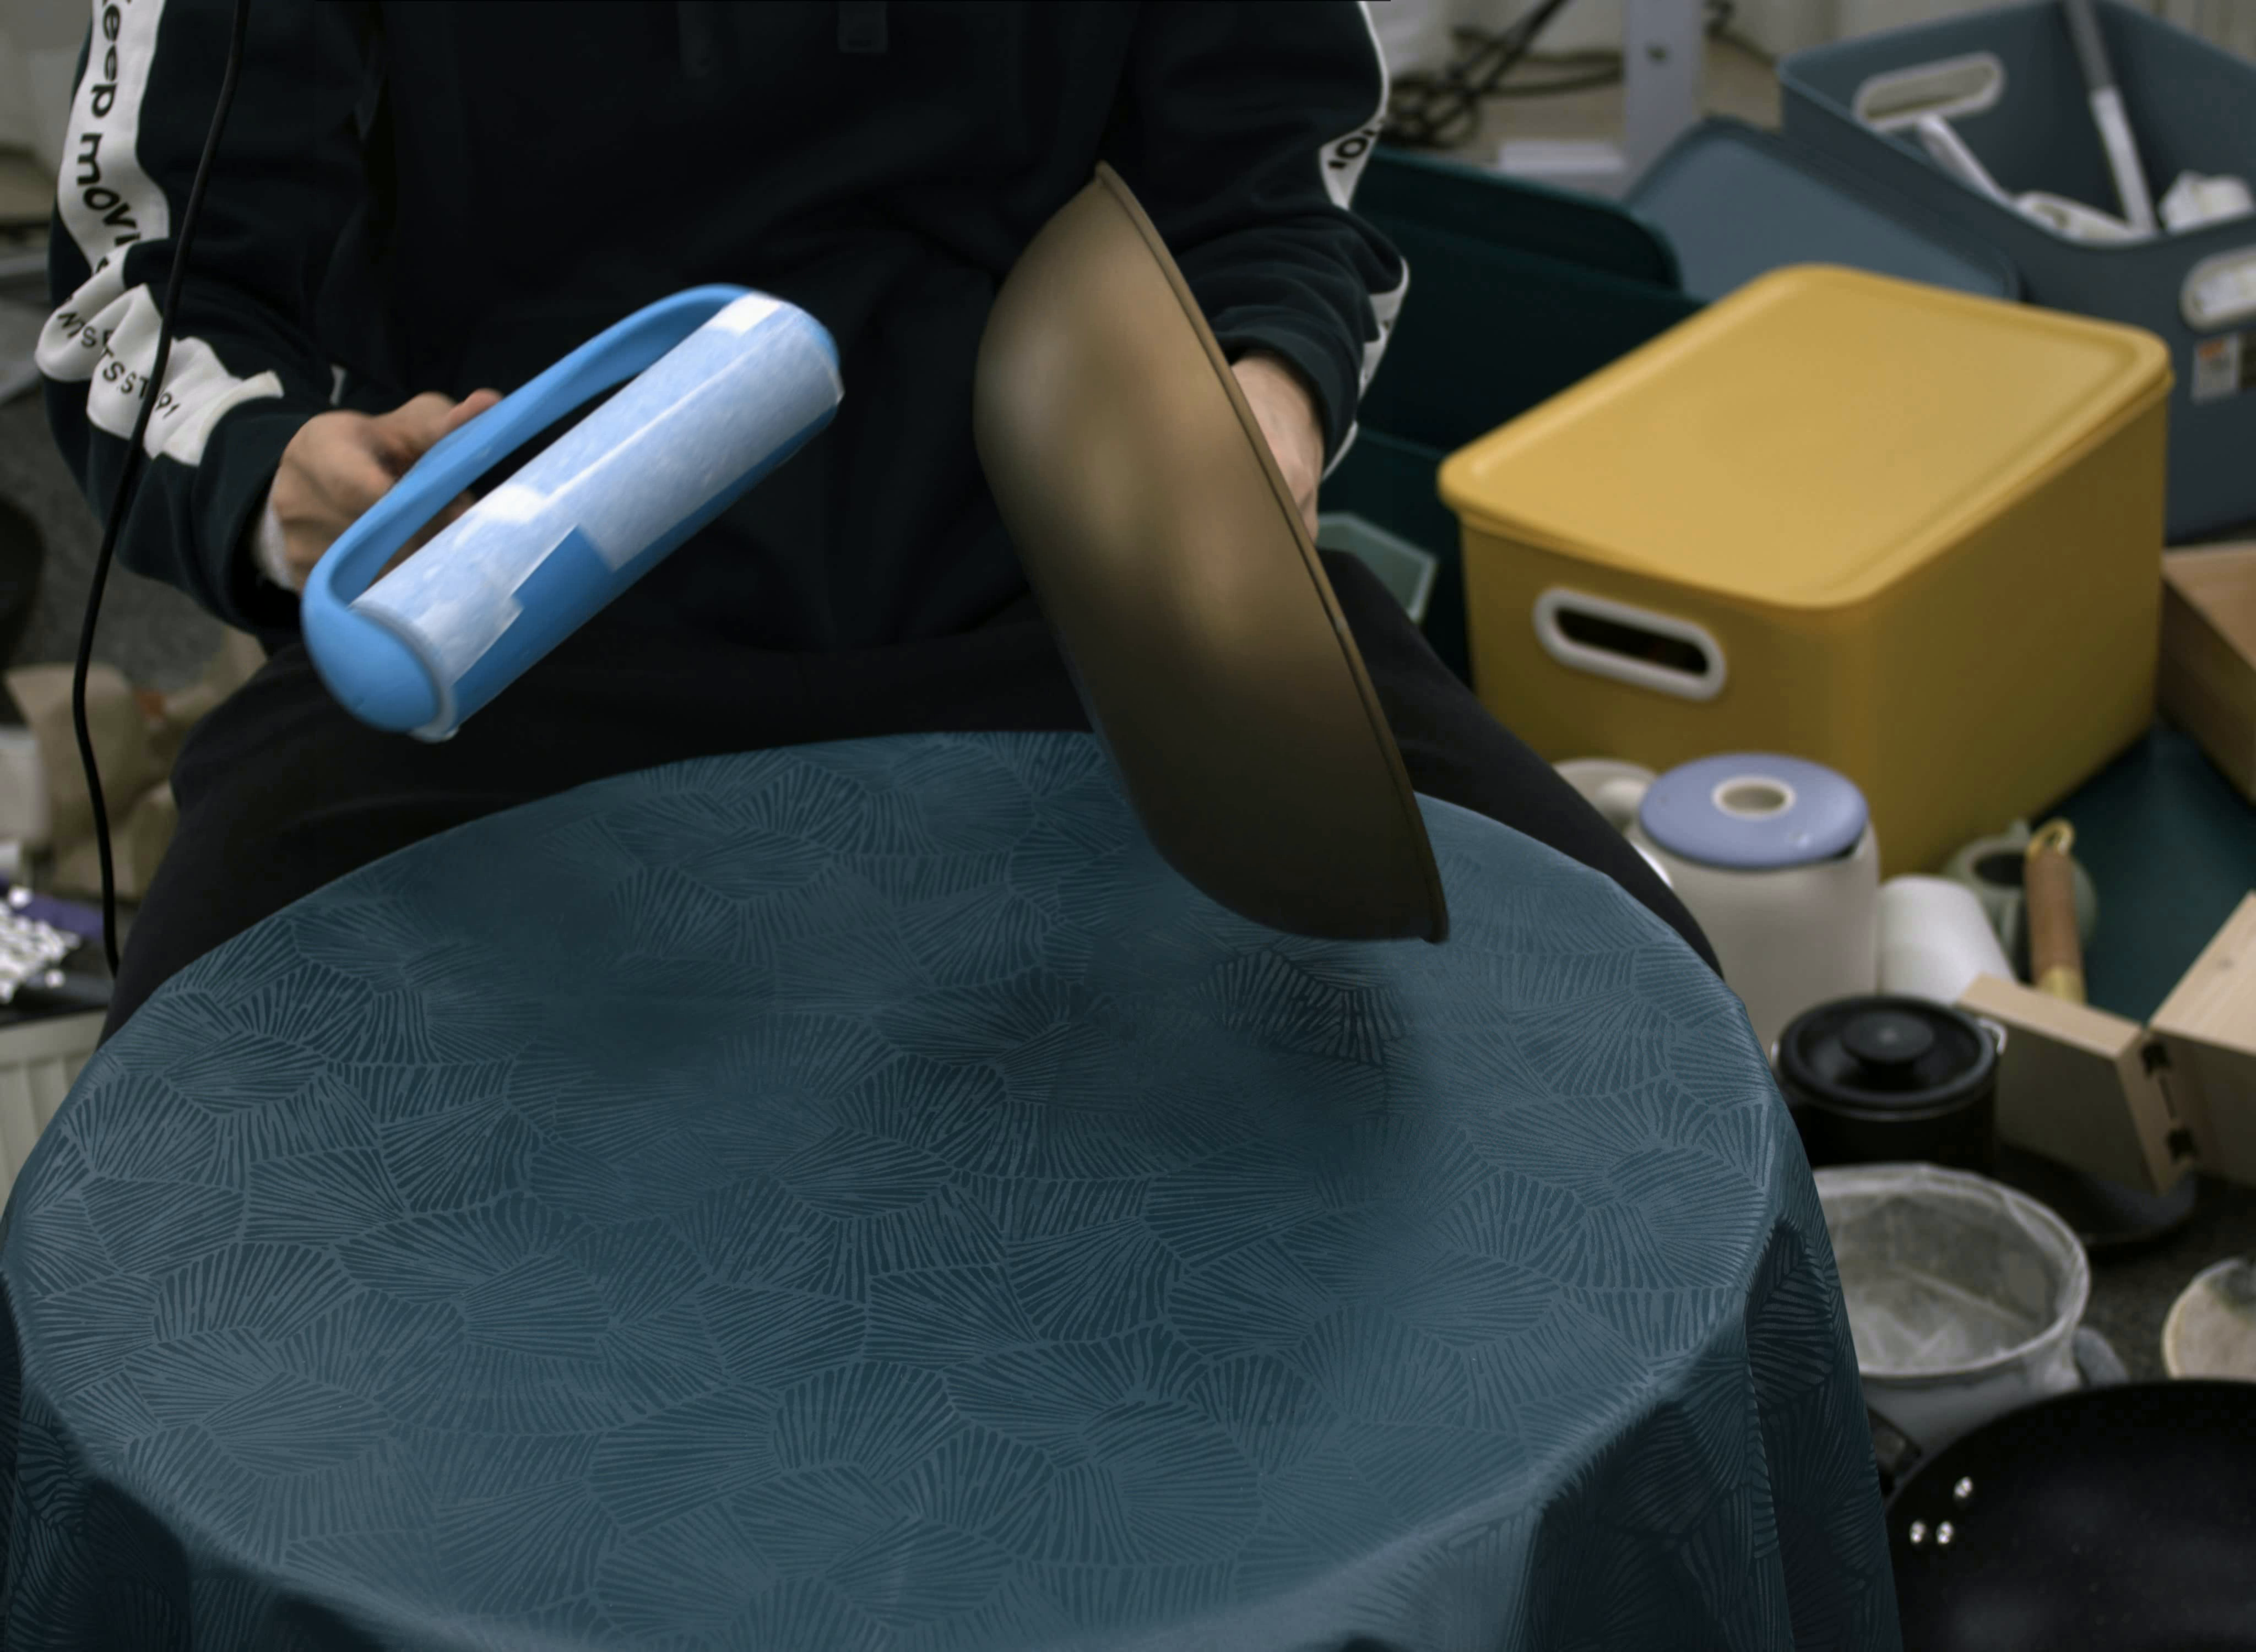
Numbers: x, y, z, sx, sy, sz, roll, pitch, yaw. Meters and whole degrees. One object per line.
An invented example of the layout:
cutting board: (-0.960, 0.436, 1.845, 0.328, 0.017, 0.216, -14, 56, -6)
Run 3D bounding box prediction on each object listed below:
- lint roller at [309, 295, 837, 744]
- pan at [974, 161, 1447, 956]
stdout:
lint roller: (-0.219, -0.101, 1.933, 0.178, 0.067, 0.233, -4, 33, 46)
pan: (0.007, -0.087, 1.974, 0.087, 0.288, 0.464, -23, 9, -2)
